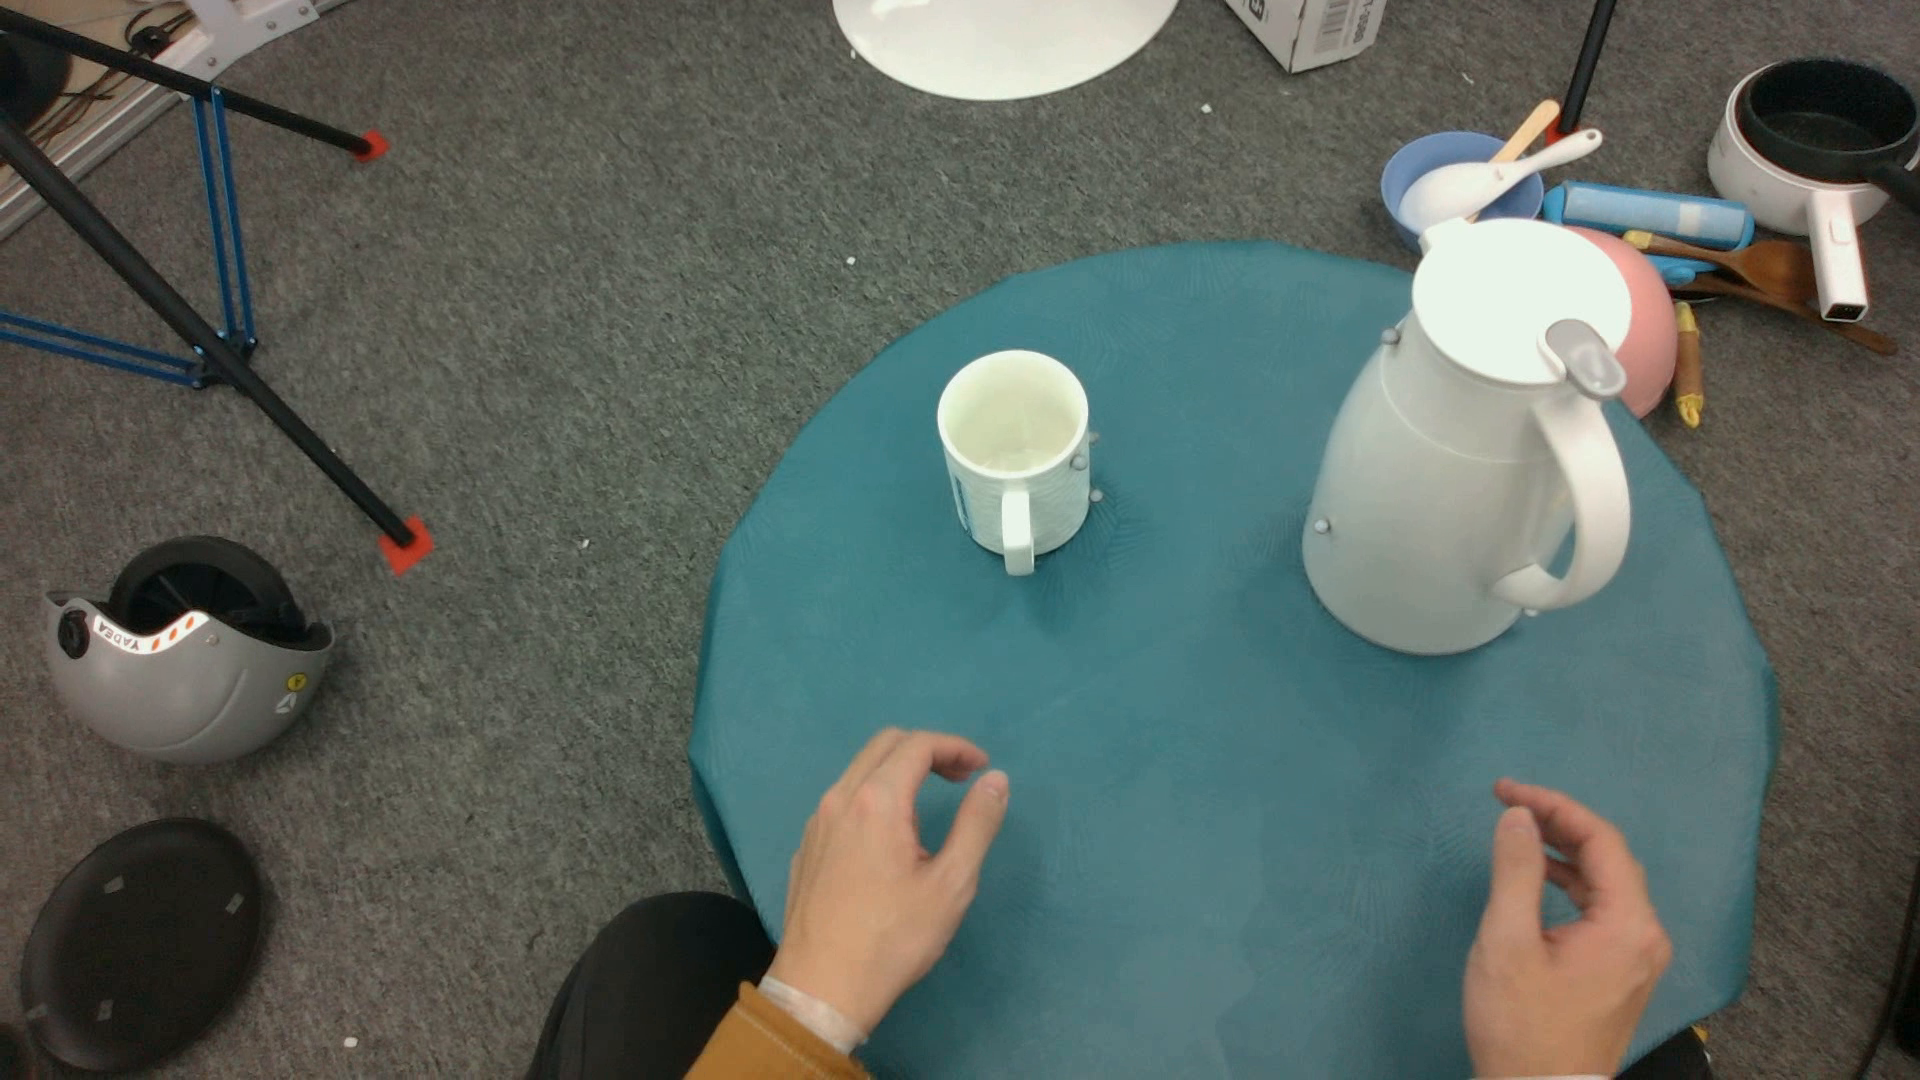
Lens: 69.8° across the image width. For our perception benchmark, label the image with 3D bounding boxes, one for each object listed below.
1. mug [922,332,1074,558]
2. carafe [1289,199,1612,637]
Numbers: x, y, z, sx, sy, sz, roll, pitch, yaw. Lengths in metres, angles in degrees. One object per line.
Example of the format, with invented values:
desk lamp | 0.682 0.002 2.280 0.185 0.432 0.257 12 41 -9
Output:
mug | 0.025 -0.044 0.803 0.085 0.101 0.119 -4 59 3
carafe | 0.258 -0.046 0.700 0.132 0.247 0.168 -23 62 -7
